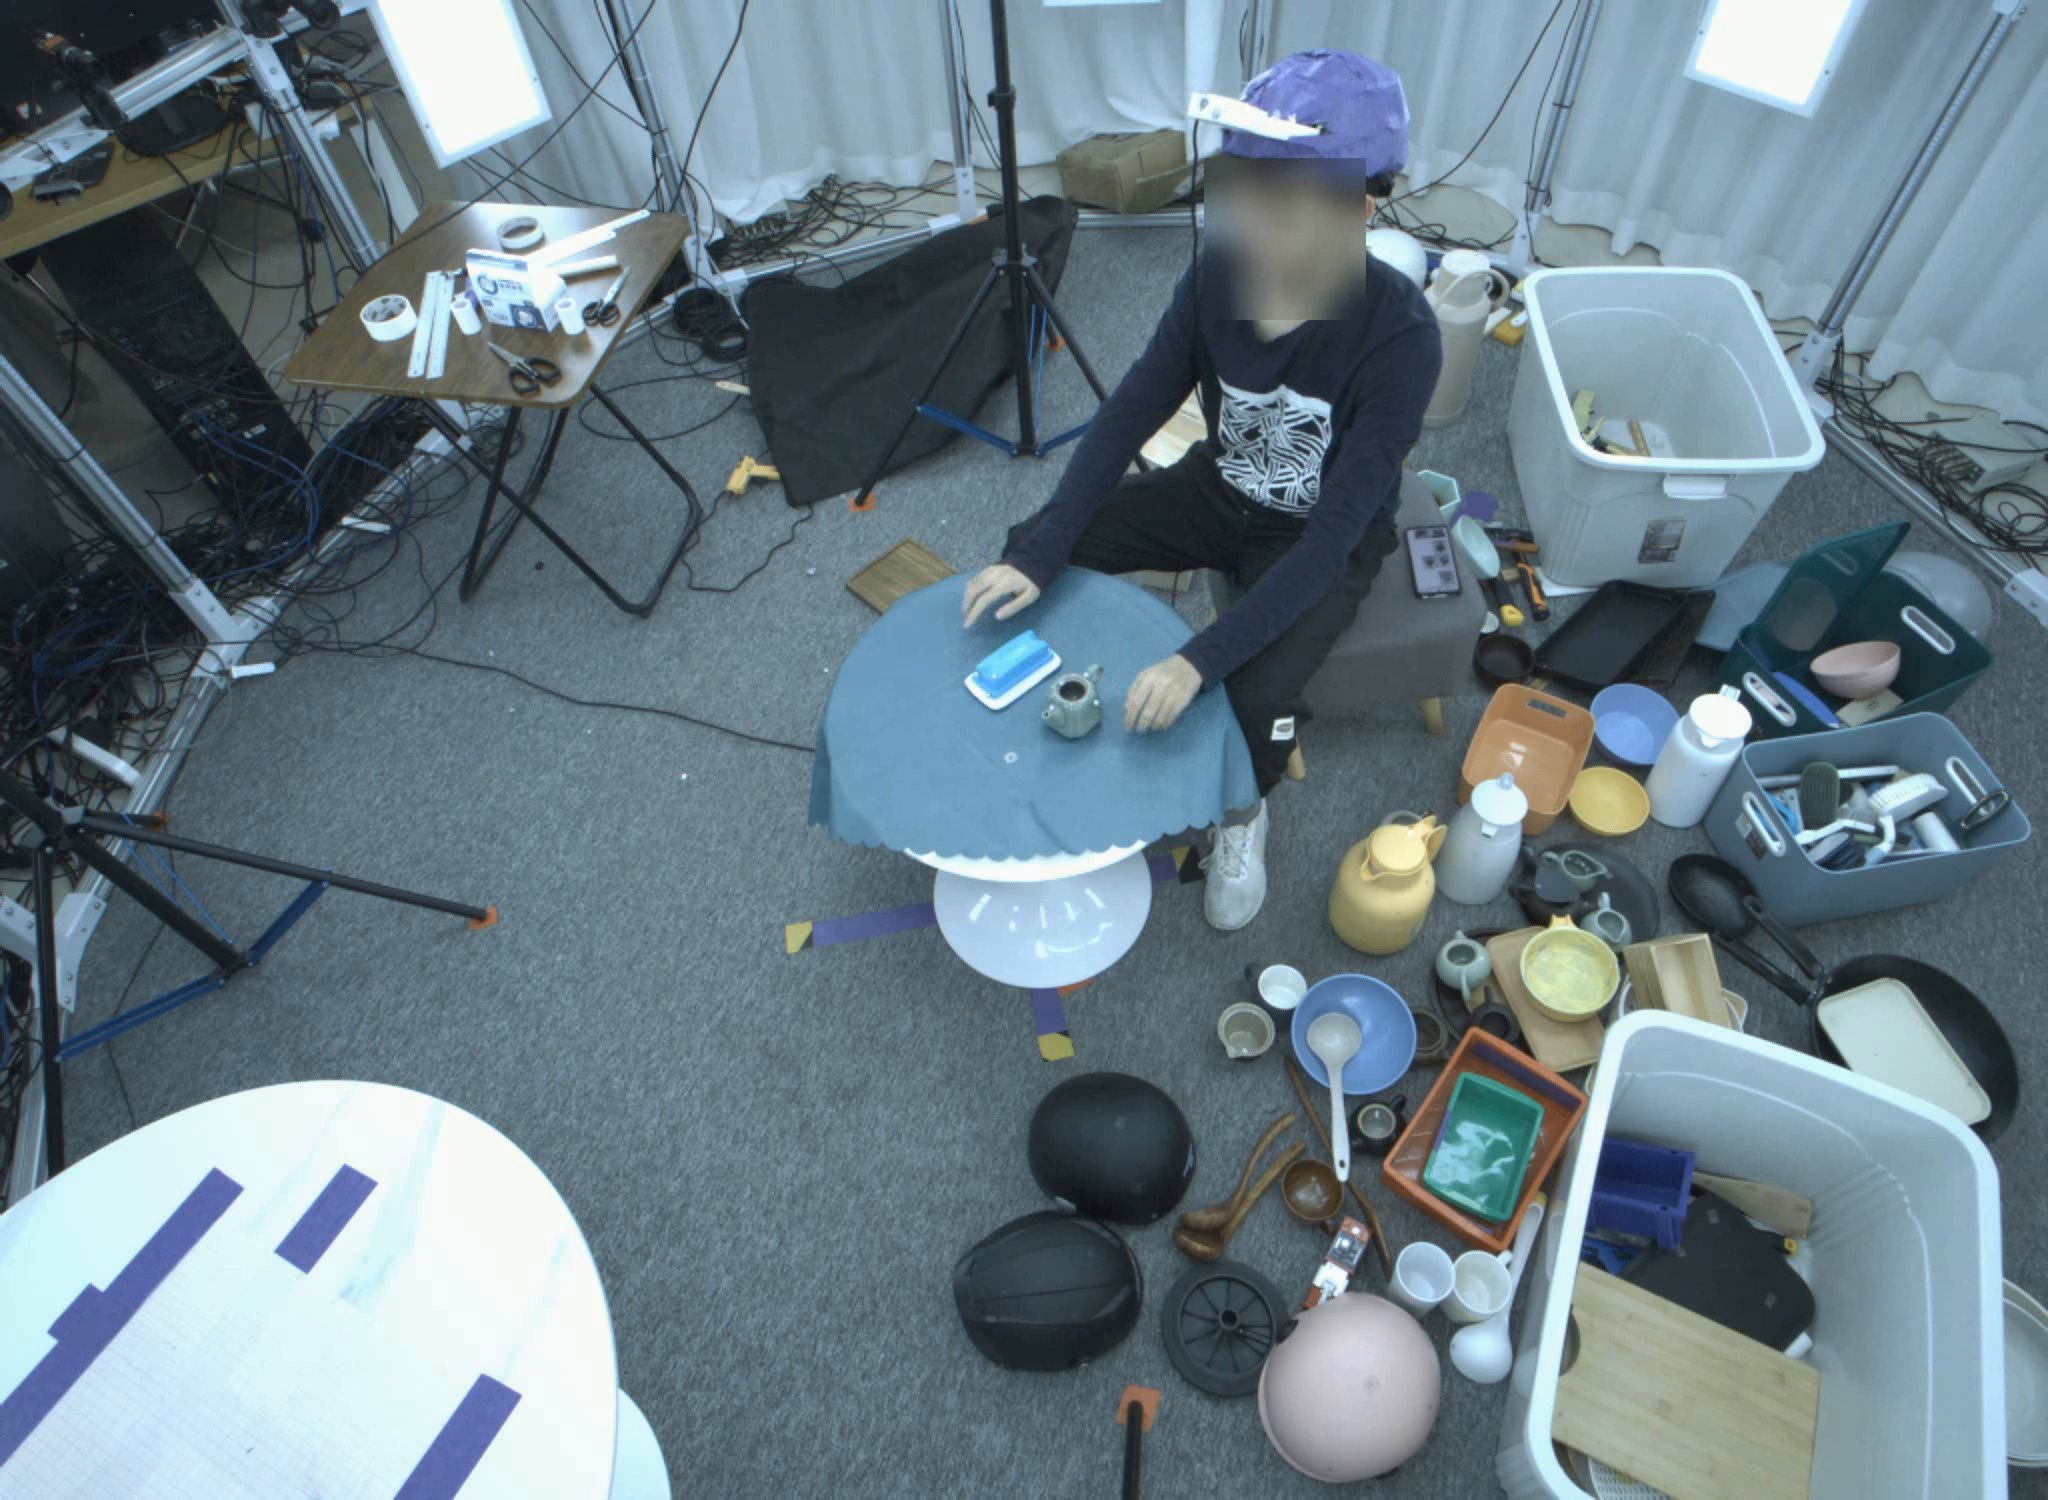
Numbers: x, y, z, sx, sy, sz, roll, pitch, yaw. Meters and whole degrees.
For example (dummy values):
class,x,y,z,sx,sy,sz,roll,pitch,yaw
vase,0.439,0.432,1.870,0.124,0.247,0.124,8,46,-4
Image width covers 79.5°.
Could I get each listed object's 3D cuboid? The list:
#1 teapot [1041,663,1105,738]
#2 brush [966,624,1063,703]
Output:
class,x,y,z,sx,sy,sz,roll,pitch,yaw
teapot,0.071,-0.068,1.780,0.078,0.076,0.133,34,61,24
brush,-0.015,-0.138,1.840,0.145,0.056,0.082,-37,64,-18
